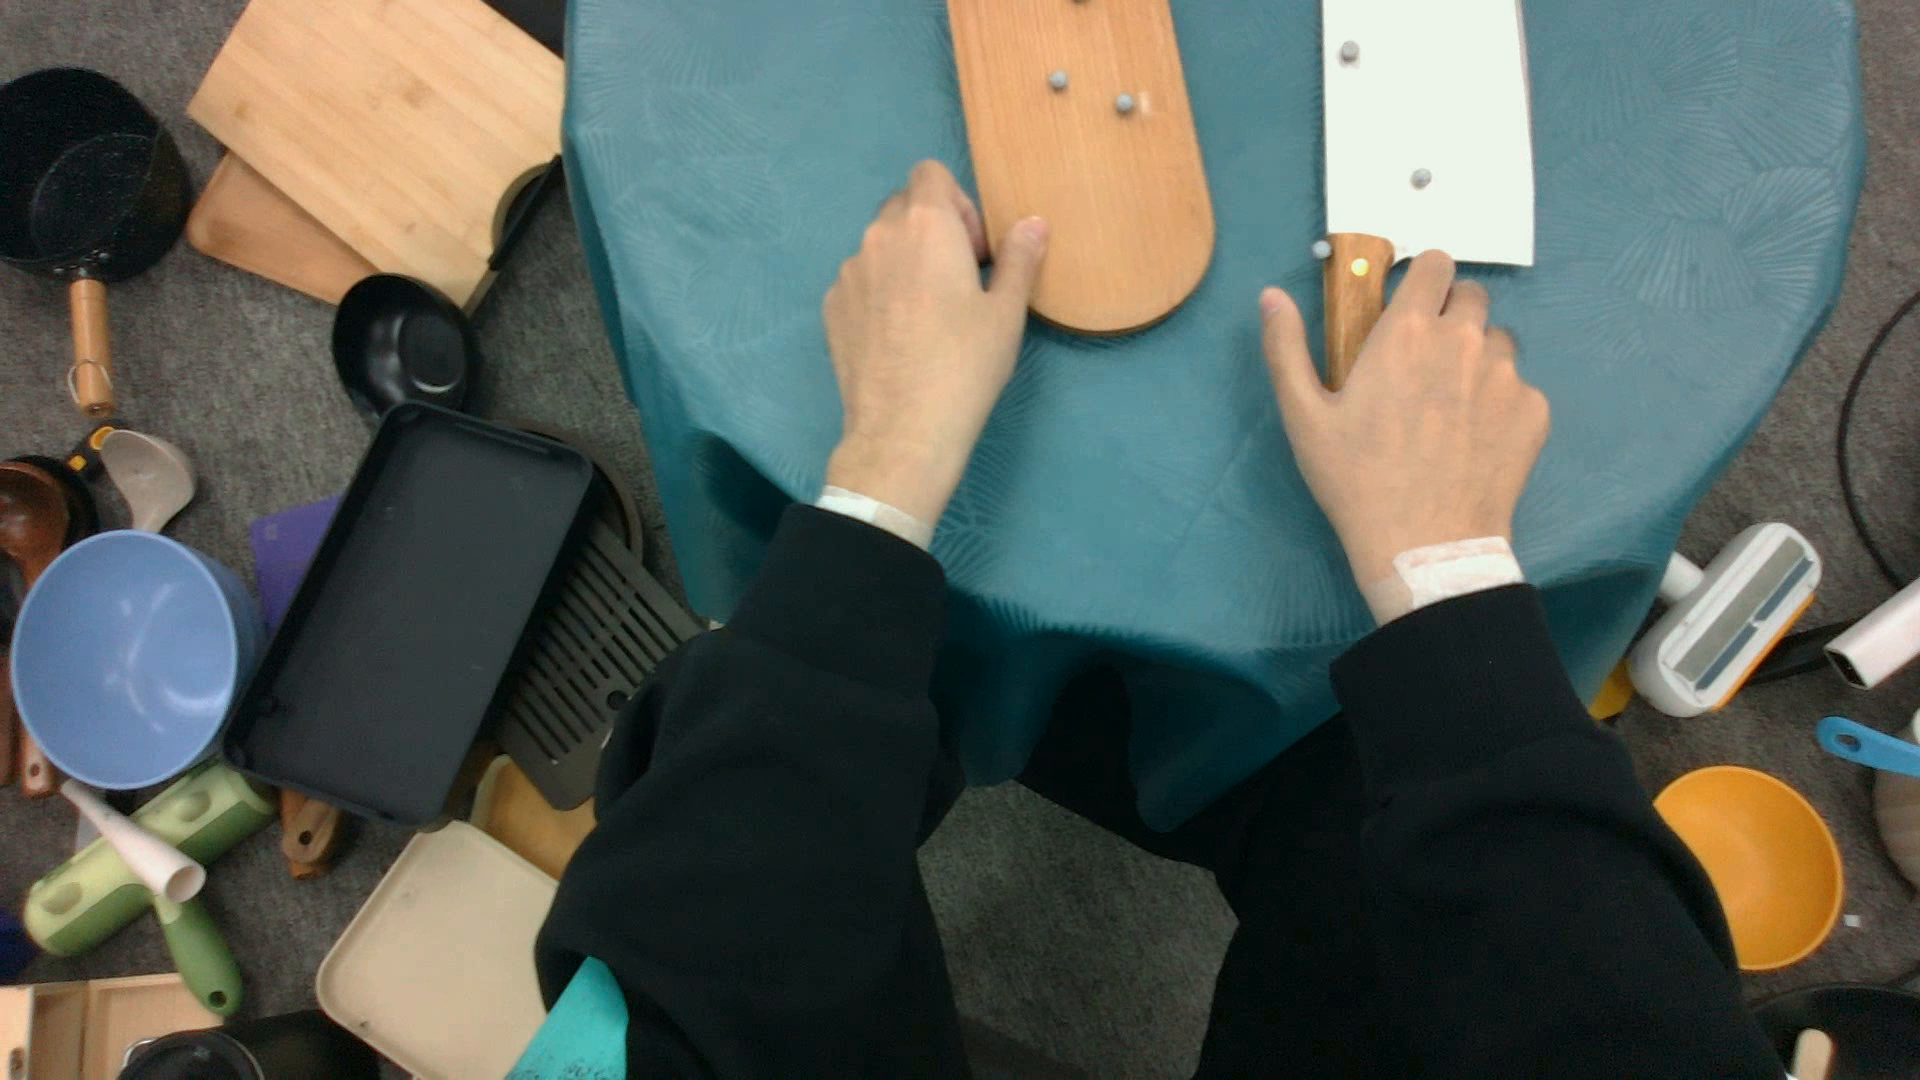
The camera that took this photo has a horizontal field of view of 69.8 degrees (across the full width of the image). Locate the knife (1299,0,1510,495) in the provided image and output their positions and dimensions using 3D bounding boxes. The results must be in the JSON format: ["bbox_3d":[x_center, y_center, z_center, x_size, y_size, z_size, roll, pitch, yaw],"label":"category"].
[{"bbox_3d":[0.198,-0.164,0.616,0.093,0.021,0.306,3,73,0],"label":"knife"}]

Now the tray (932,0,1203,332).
[{"bbox_3d":[0.046,-0.201,0.628,0.102,0.020,0.231,-9,76,-1],"label":"tray"}]
